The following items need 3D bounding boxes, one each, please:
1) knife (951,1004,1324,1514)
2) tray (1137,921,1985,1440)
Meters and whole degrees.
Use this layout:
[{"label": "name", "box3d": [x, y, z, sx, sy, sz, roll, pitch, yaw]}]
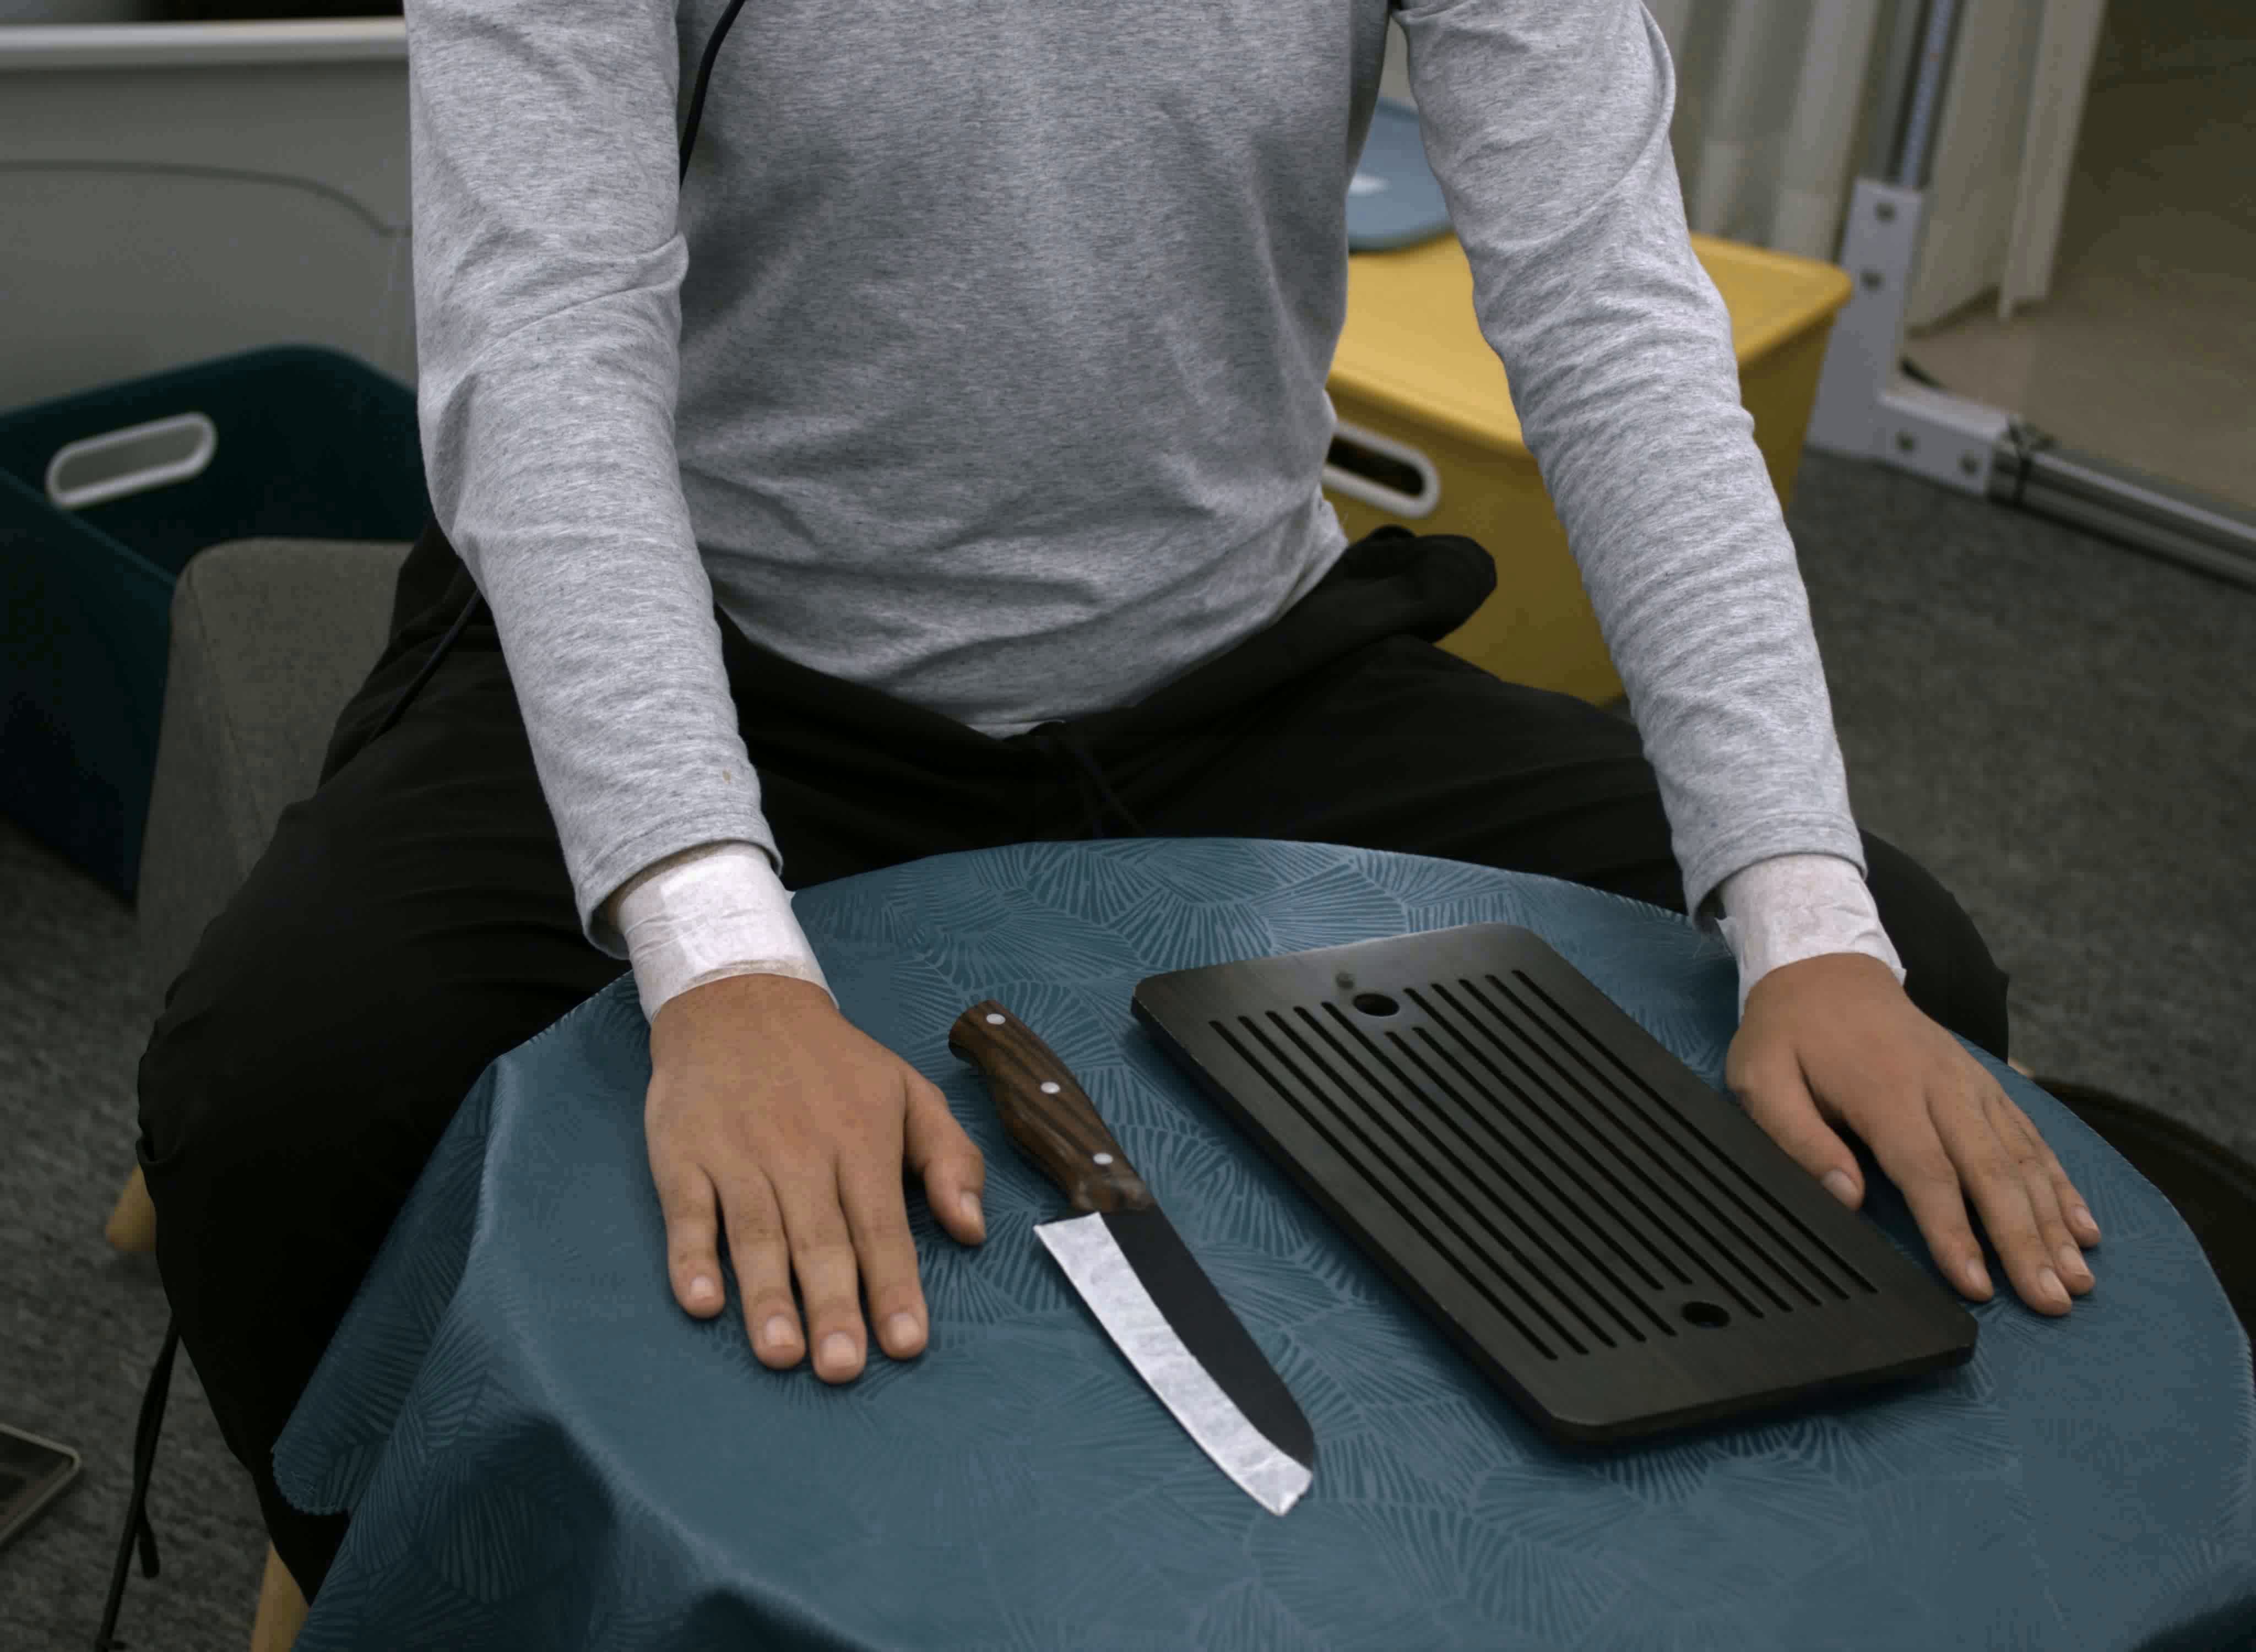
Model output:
[{"label": "knife", "box3d": [-0.001, 0.141, 1.756, 0.050, 0.020, 0.292, -9, 33, -19]}, {"label": "tray", "box3d": [0.142, 0.118, 1.829, 0.169, 0.018, 0.309, -8, 30, -26]}]
